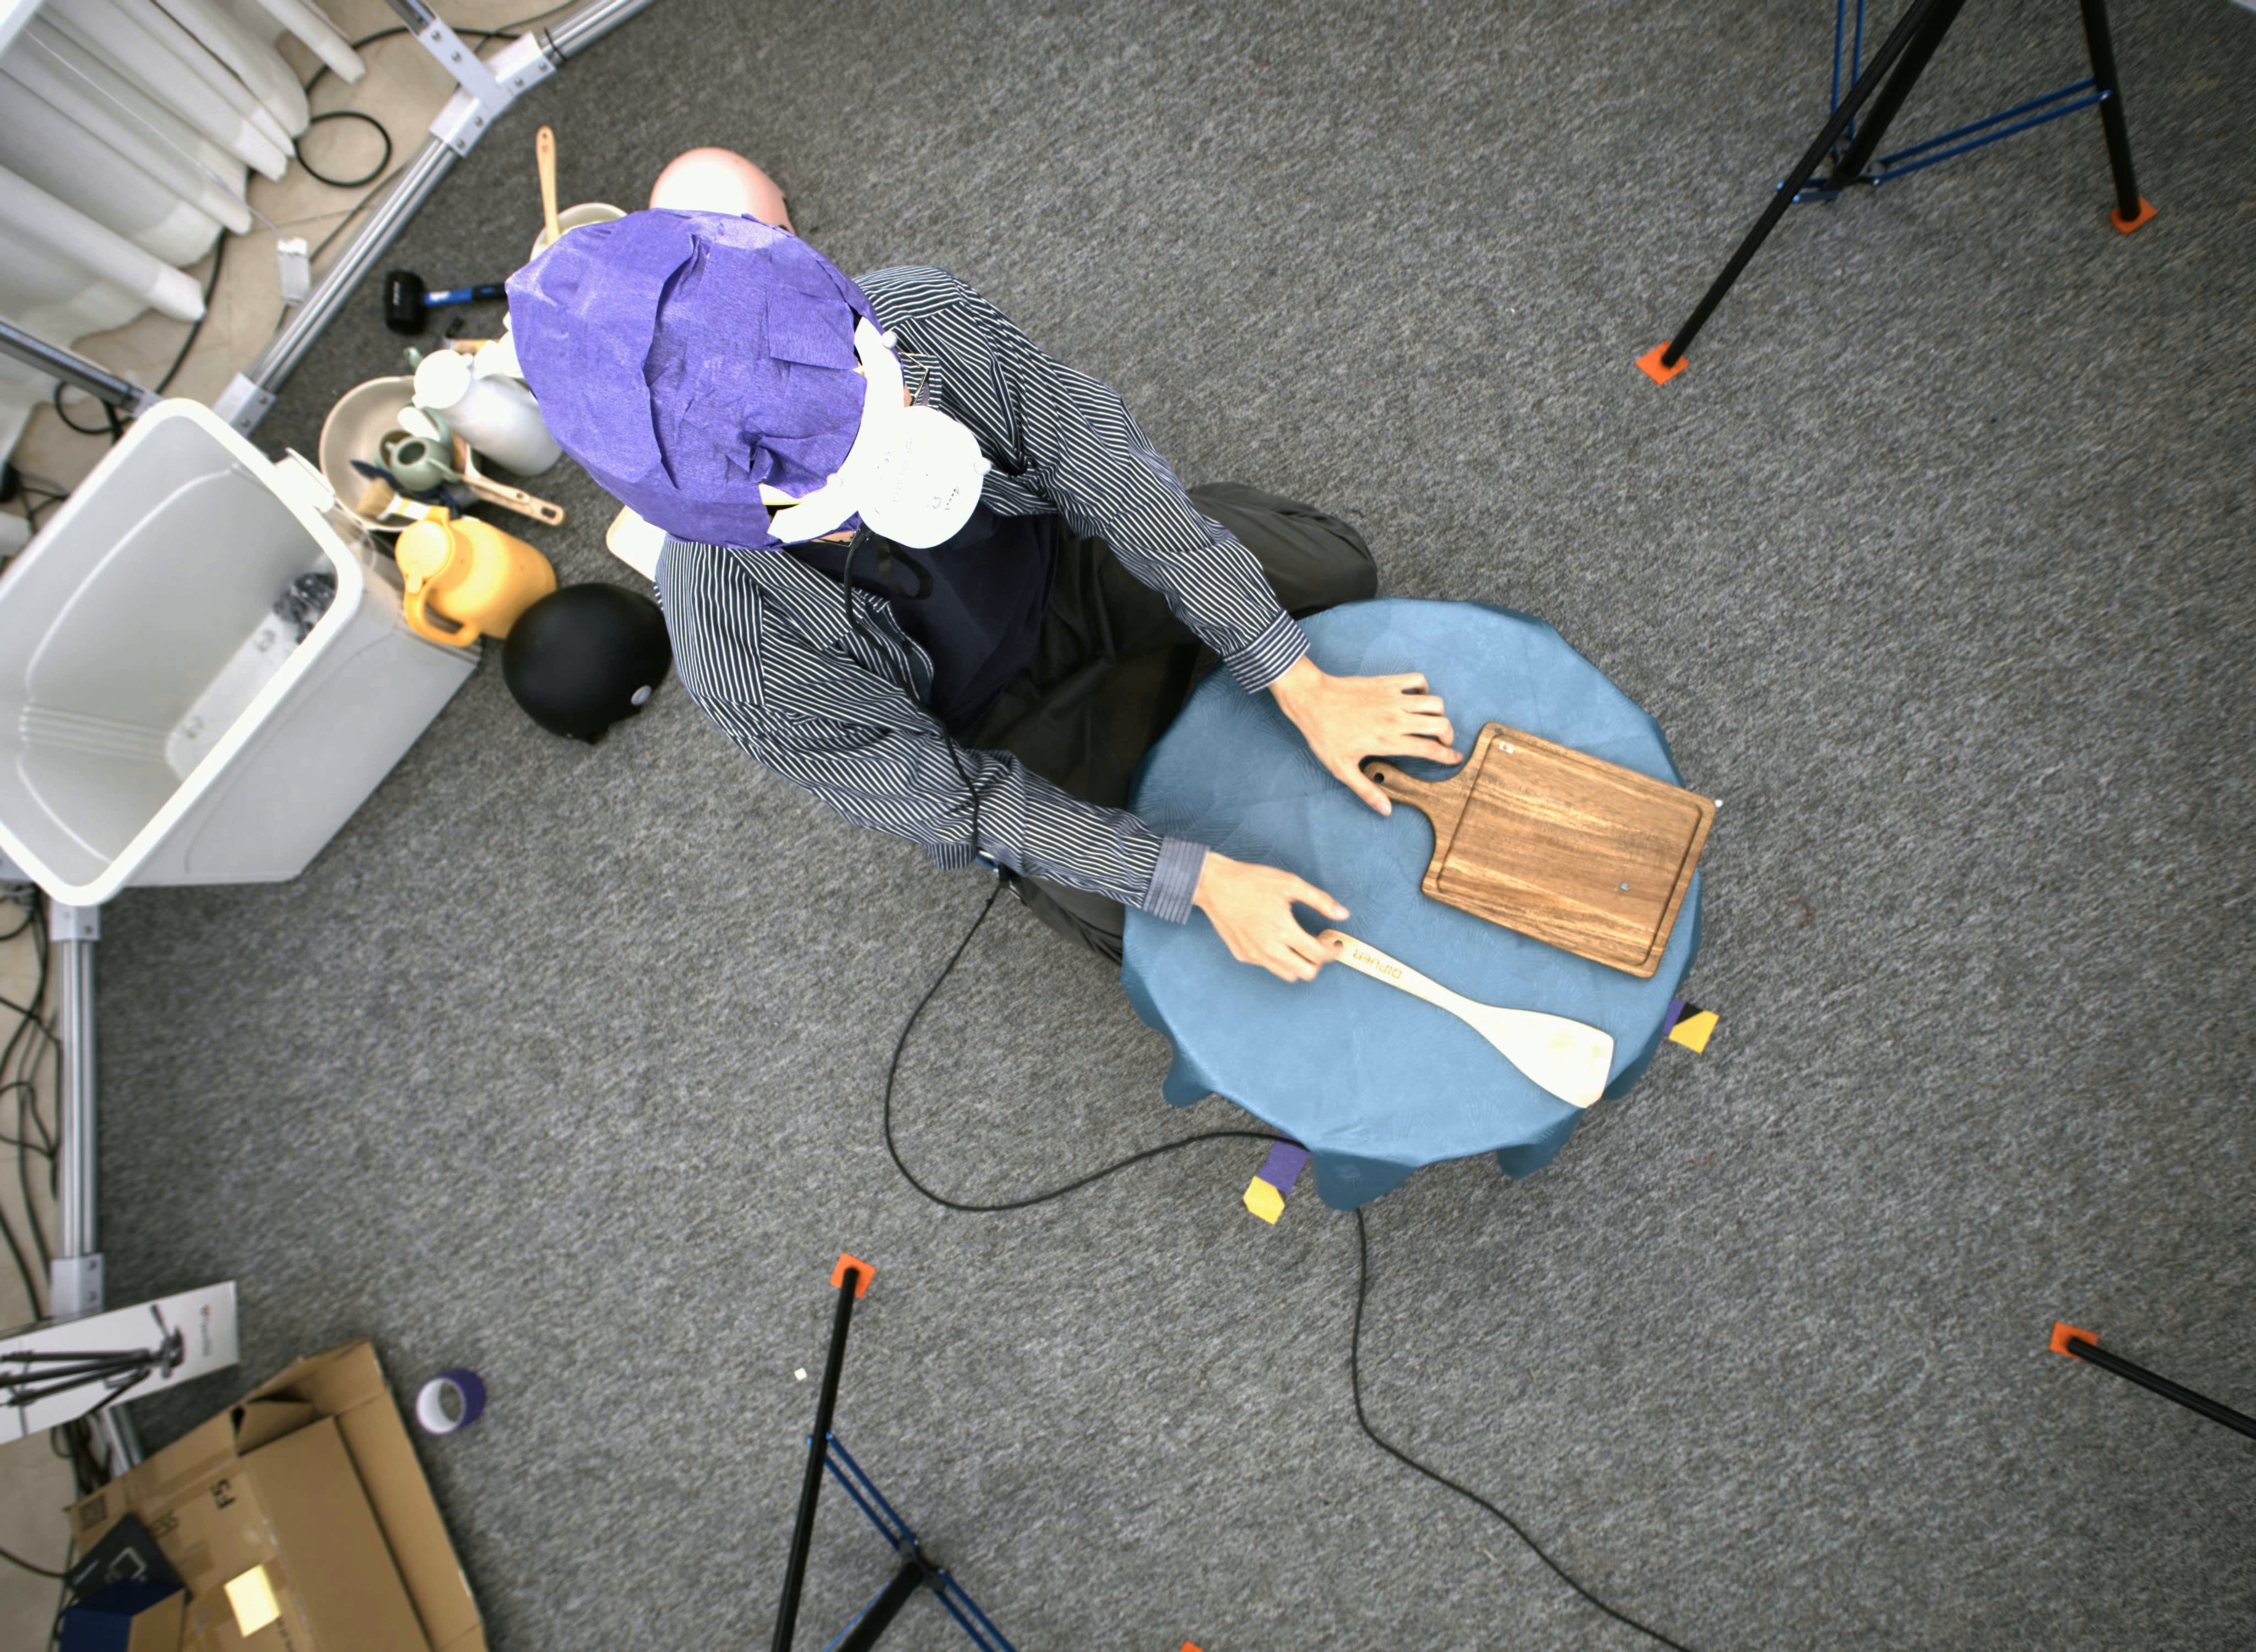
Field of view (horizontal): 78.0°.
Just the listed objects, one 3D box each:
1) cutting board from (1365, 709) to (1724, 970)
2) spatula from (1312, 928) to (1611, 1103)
[{"bbox_3d":[0.412,-0.008,1.416,0.352,0.023,0.201,22,91,10],"label":"cutting board"},{"bbox_3d":[0.341,0.179,1.423,0.327,0.016,0.080,25,91,10],"label":"spatula"}]
